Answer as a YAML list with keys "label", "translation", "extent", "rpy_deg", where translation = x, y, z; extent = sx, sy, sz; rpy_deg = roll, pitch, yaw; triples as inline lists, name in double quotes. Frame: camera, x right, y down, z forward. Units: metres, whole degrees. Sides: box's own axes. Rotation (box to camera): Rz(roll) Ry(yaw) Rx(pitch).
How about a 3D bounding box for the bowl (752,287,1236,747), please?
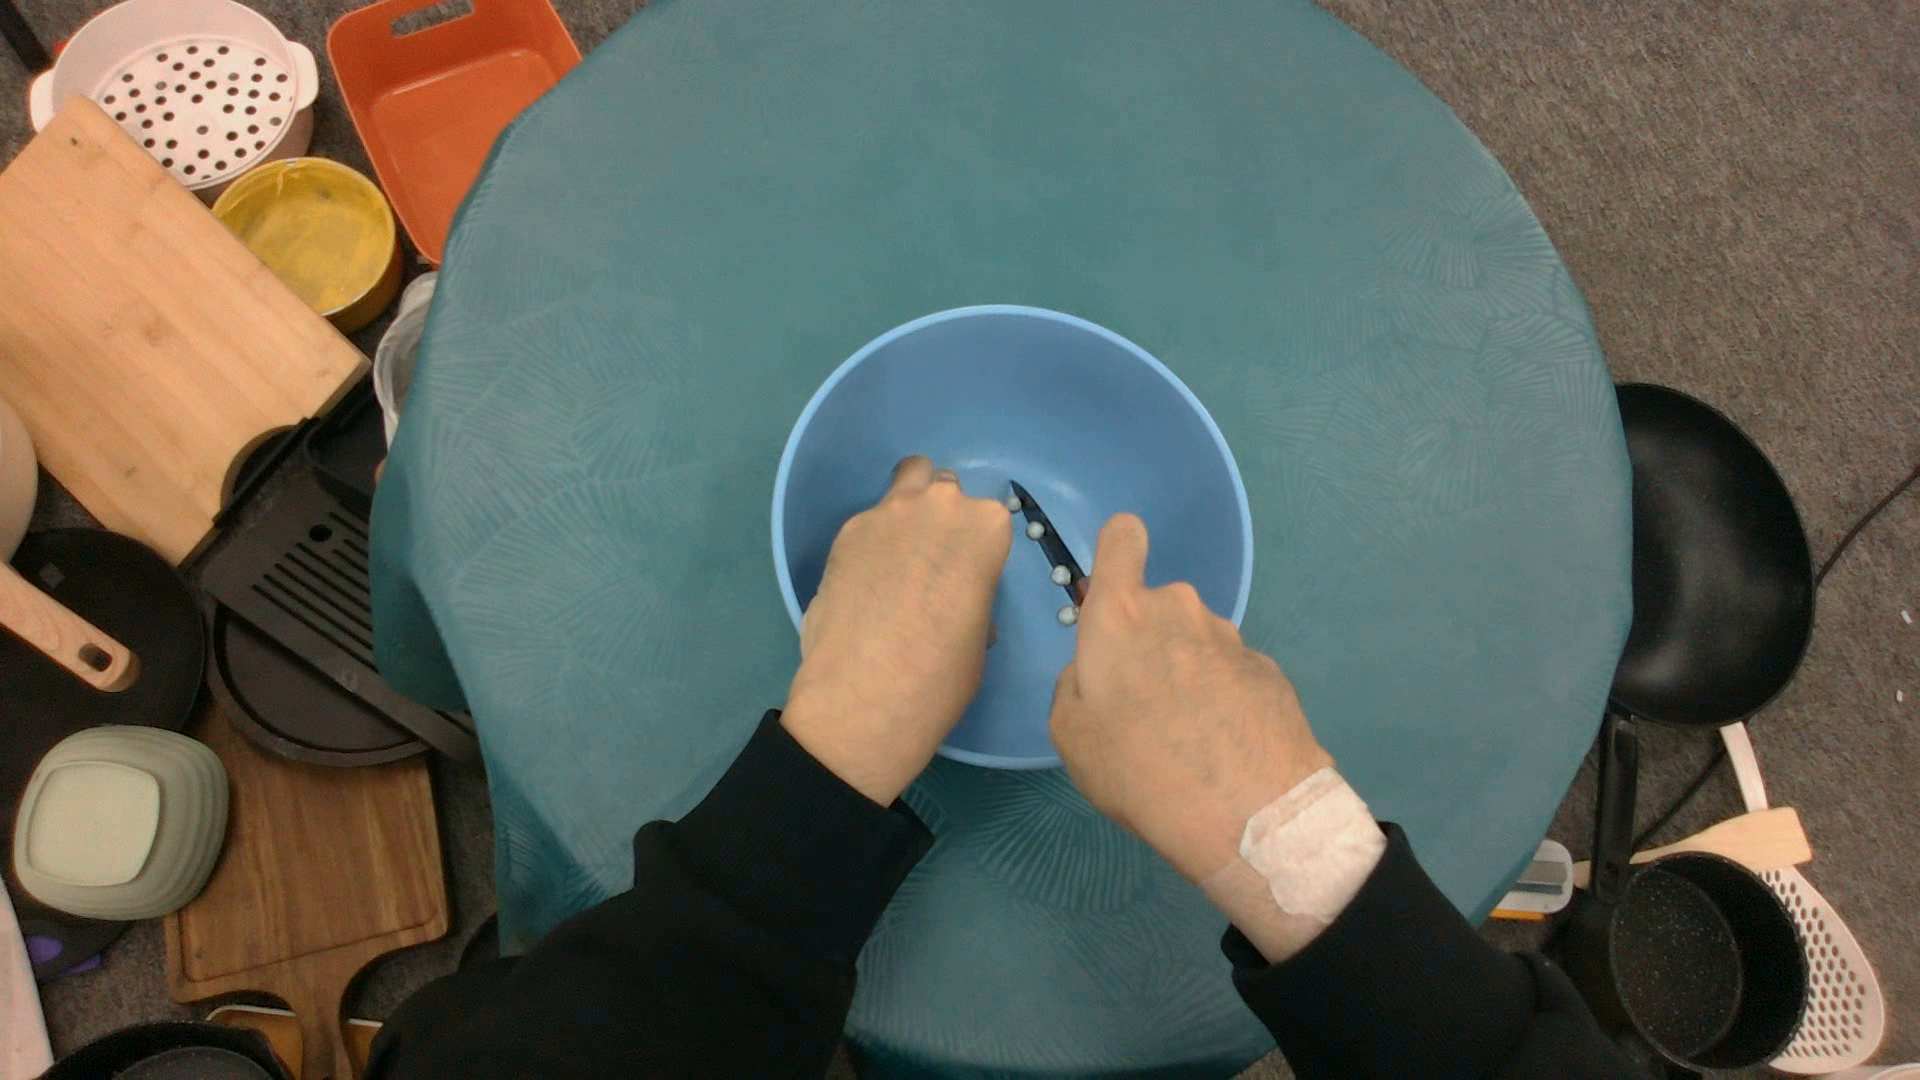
- label: "bowl"
  translation: [0.009, 0.000, 0.590]
  extent: [0.196, 0.095, 0.197]
  rpy_deg: [3, 69, -8]

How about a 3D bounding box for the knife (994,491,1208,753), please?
- label: "knife"
  translation: [0.046, 0.019, 0.547]
  extent: [0.017, 0.226, 0.026]
  rpy_deg: [-21, 118, -7]
